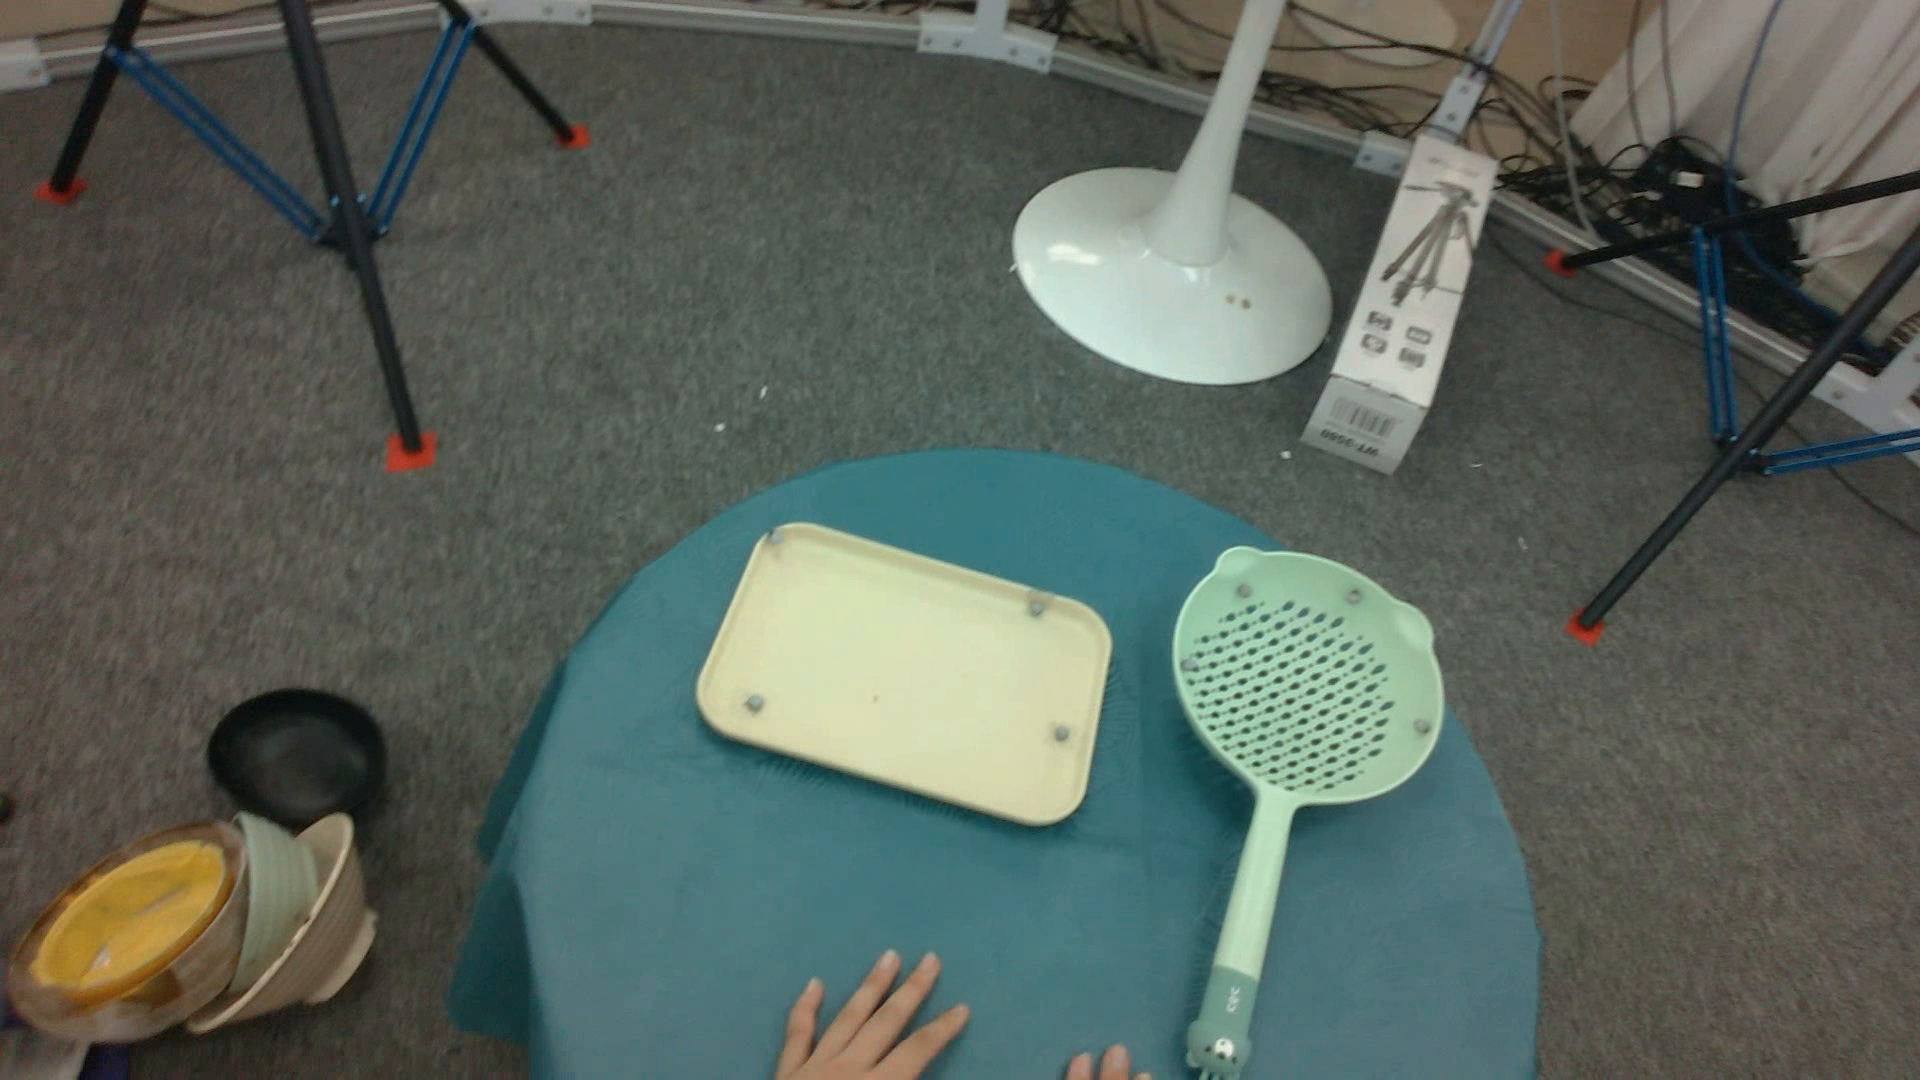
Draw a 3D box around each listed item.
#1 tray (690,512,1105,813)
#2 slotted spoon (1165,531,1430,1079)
[{"bbox_3d":[-0.034,0.073,0.853,0.239,0.017,0.172,16,50,0],"label":"tray"},{"bbox_3d":[0.175,0.154,0.808,0.169,0.075,0.361,21,51,4],"label":"slotted spoon"}]
